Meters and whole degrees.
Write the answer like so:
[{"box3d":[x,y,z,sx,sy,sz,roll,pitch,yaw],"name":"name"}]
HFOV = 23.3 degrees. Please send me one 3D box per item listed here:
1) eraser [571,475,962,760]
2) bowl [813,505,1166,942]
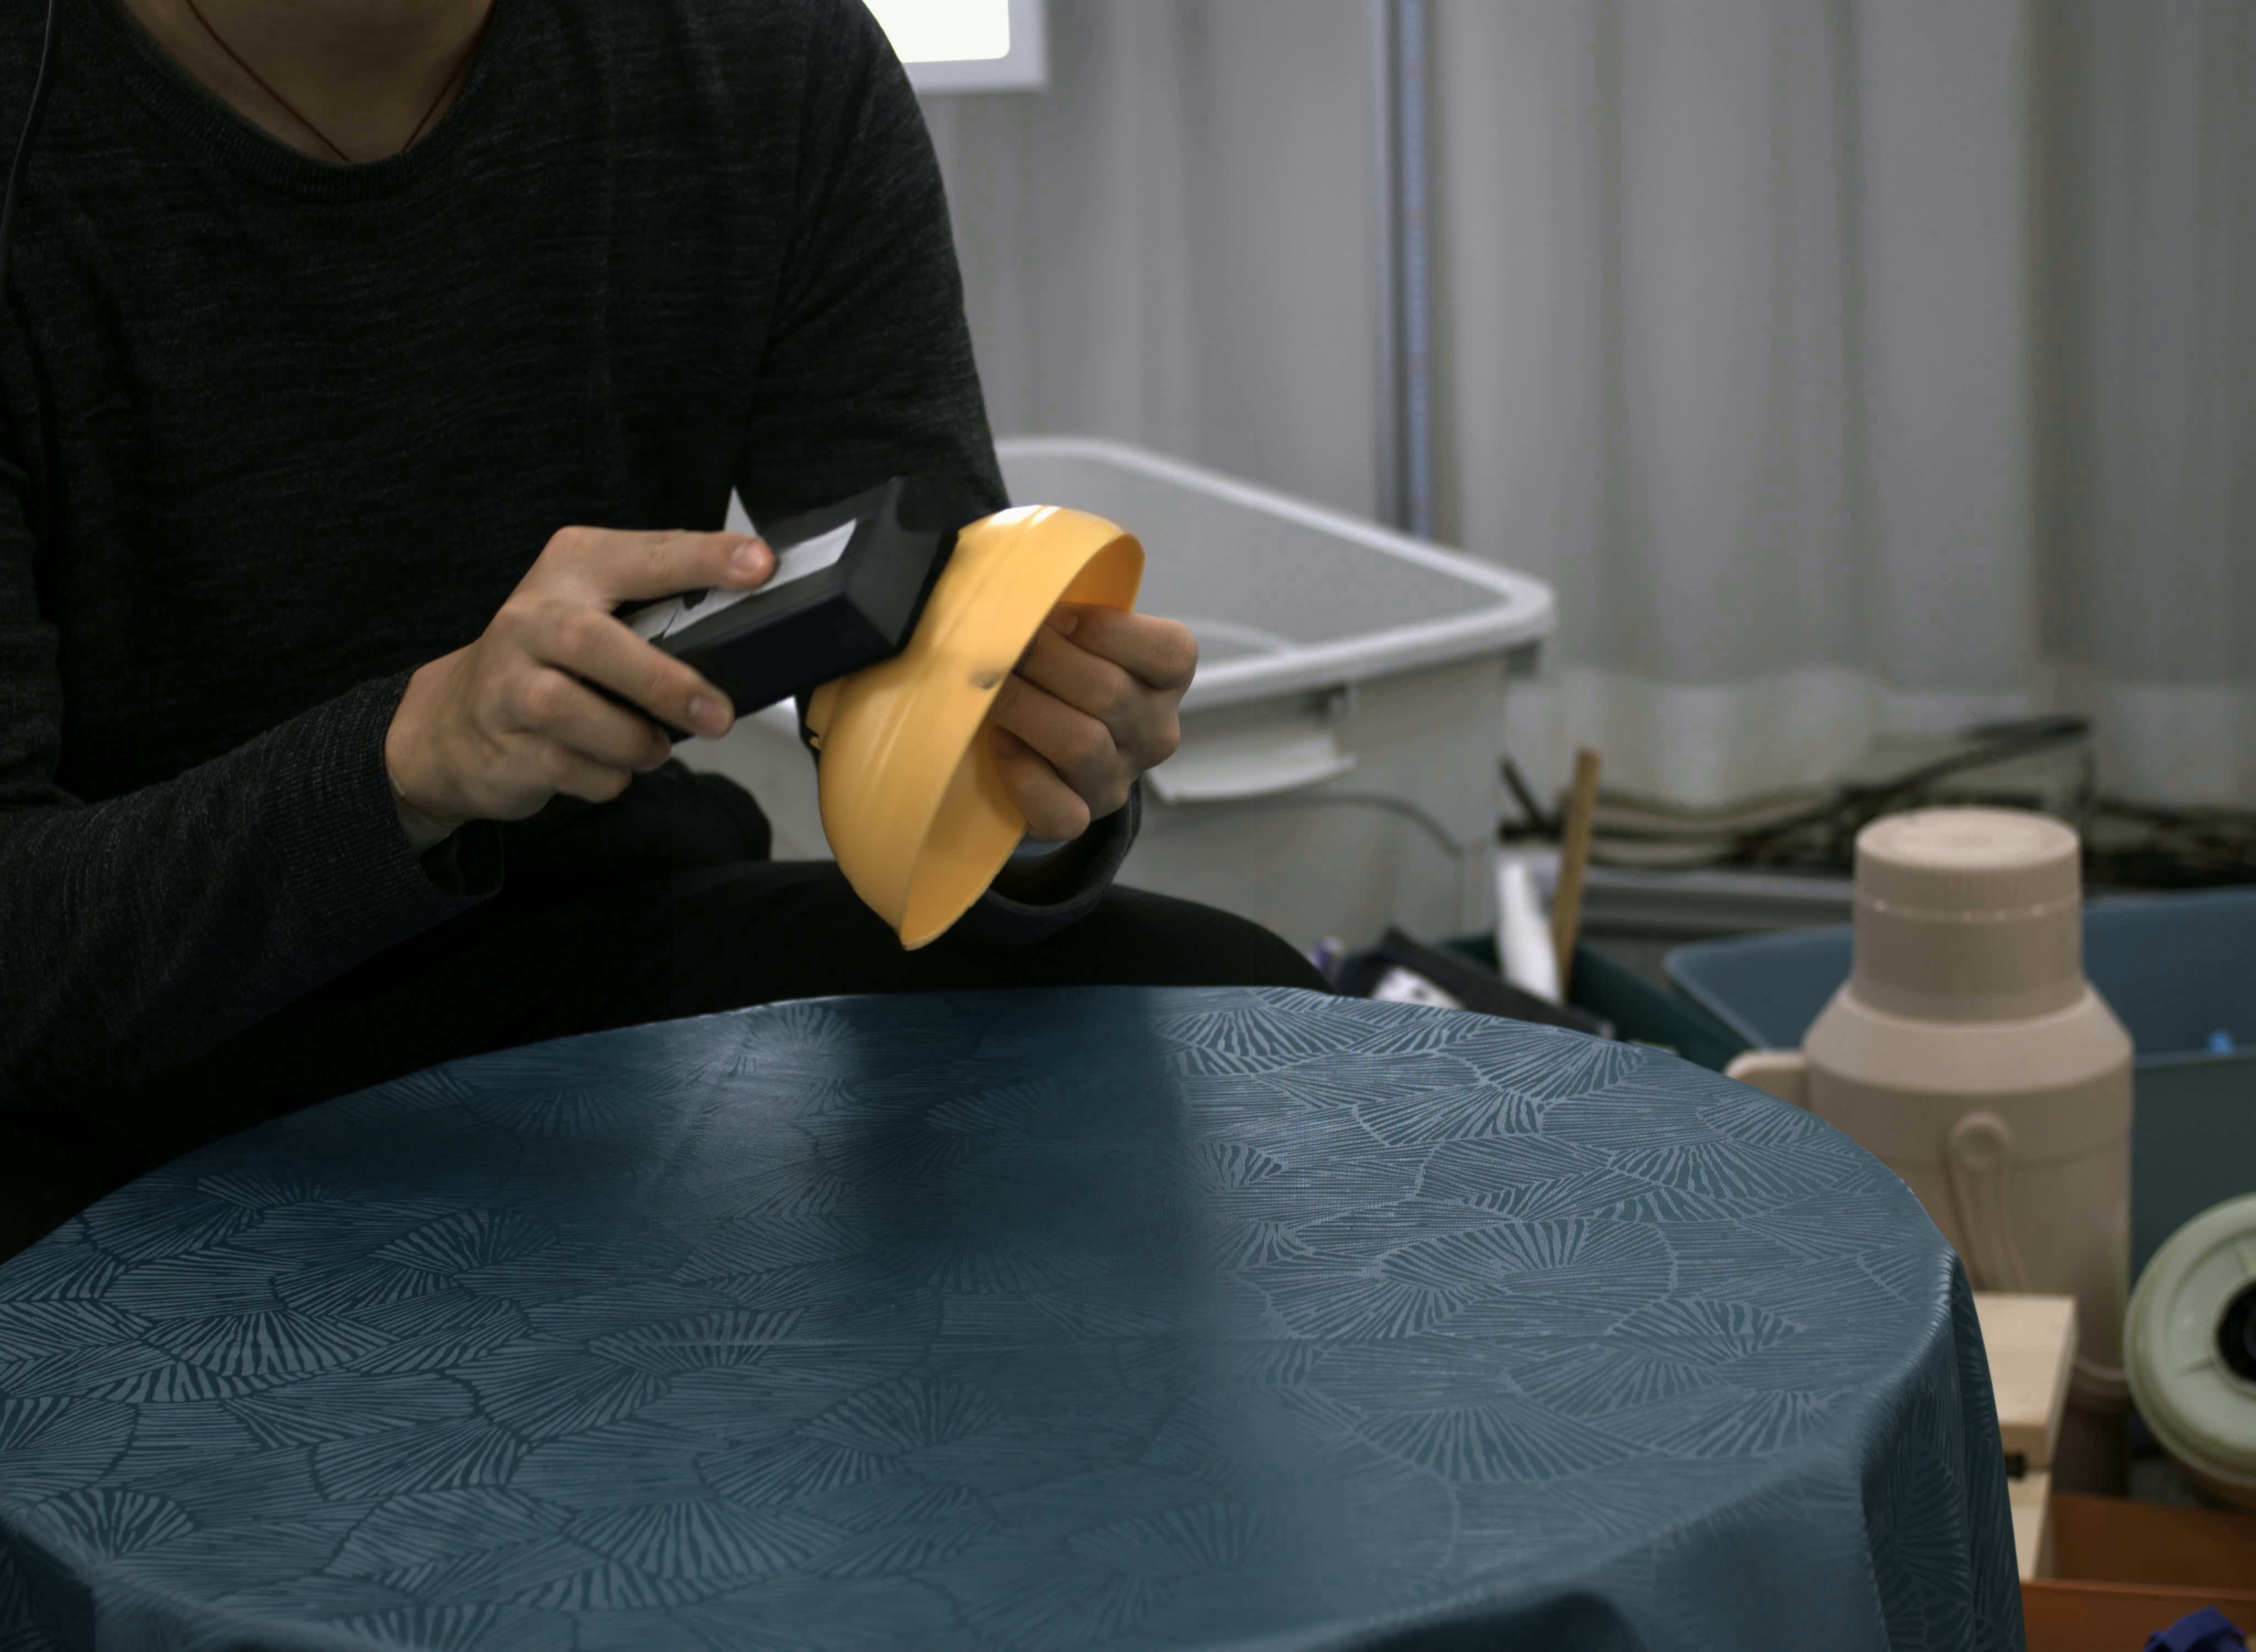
[{"box3d":[-0.107,-0.061,1.610,0.125,0.030,0.054,-21,31,38],"name":"eraser"},{"box3d":[-0.052,-0.041,1.633,0.060,0.144,0.146,31,24,12],"name":"bowl"}]
